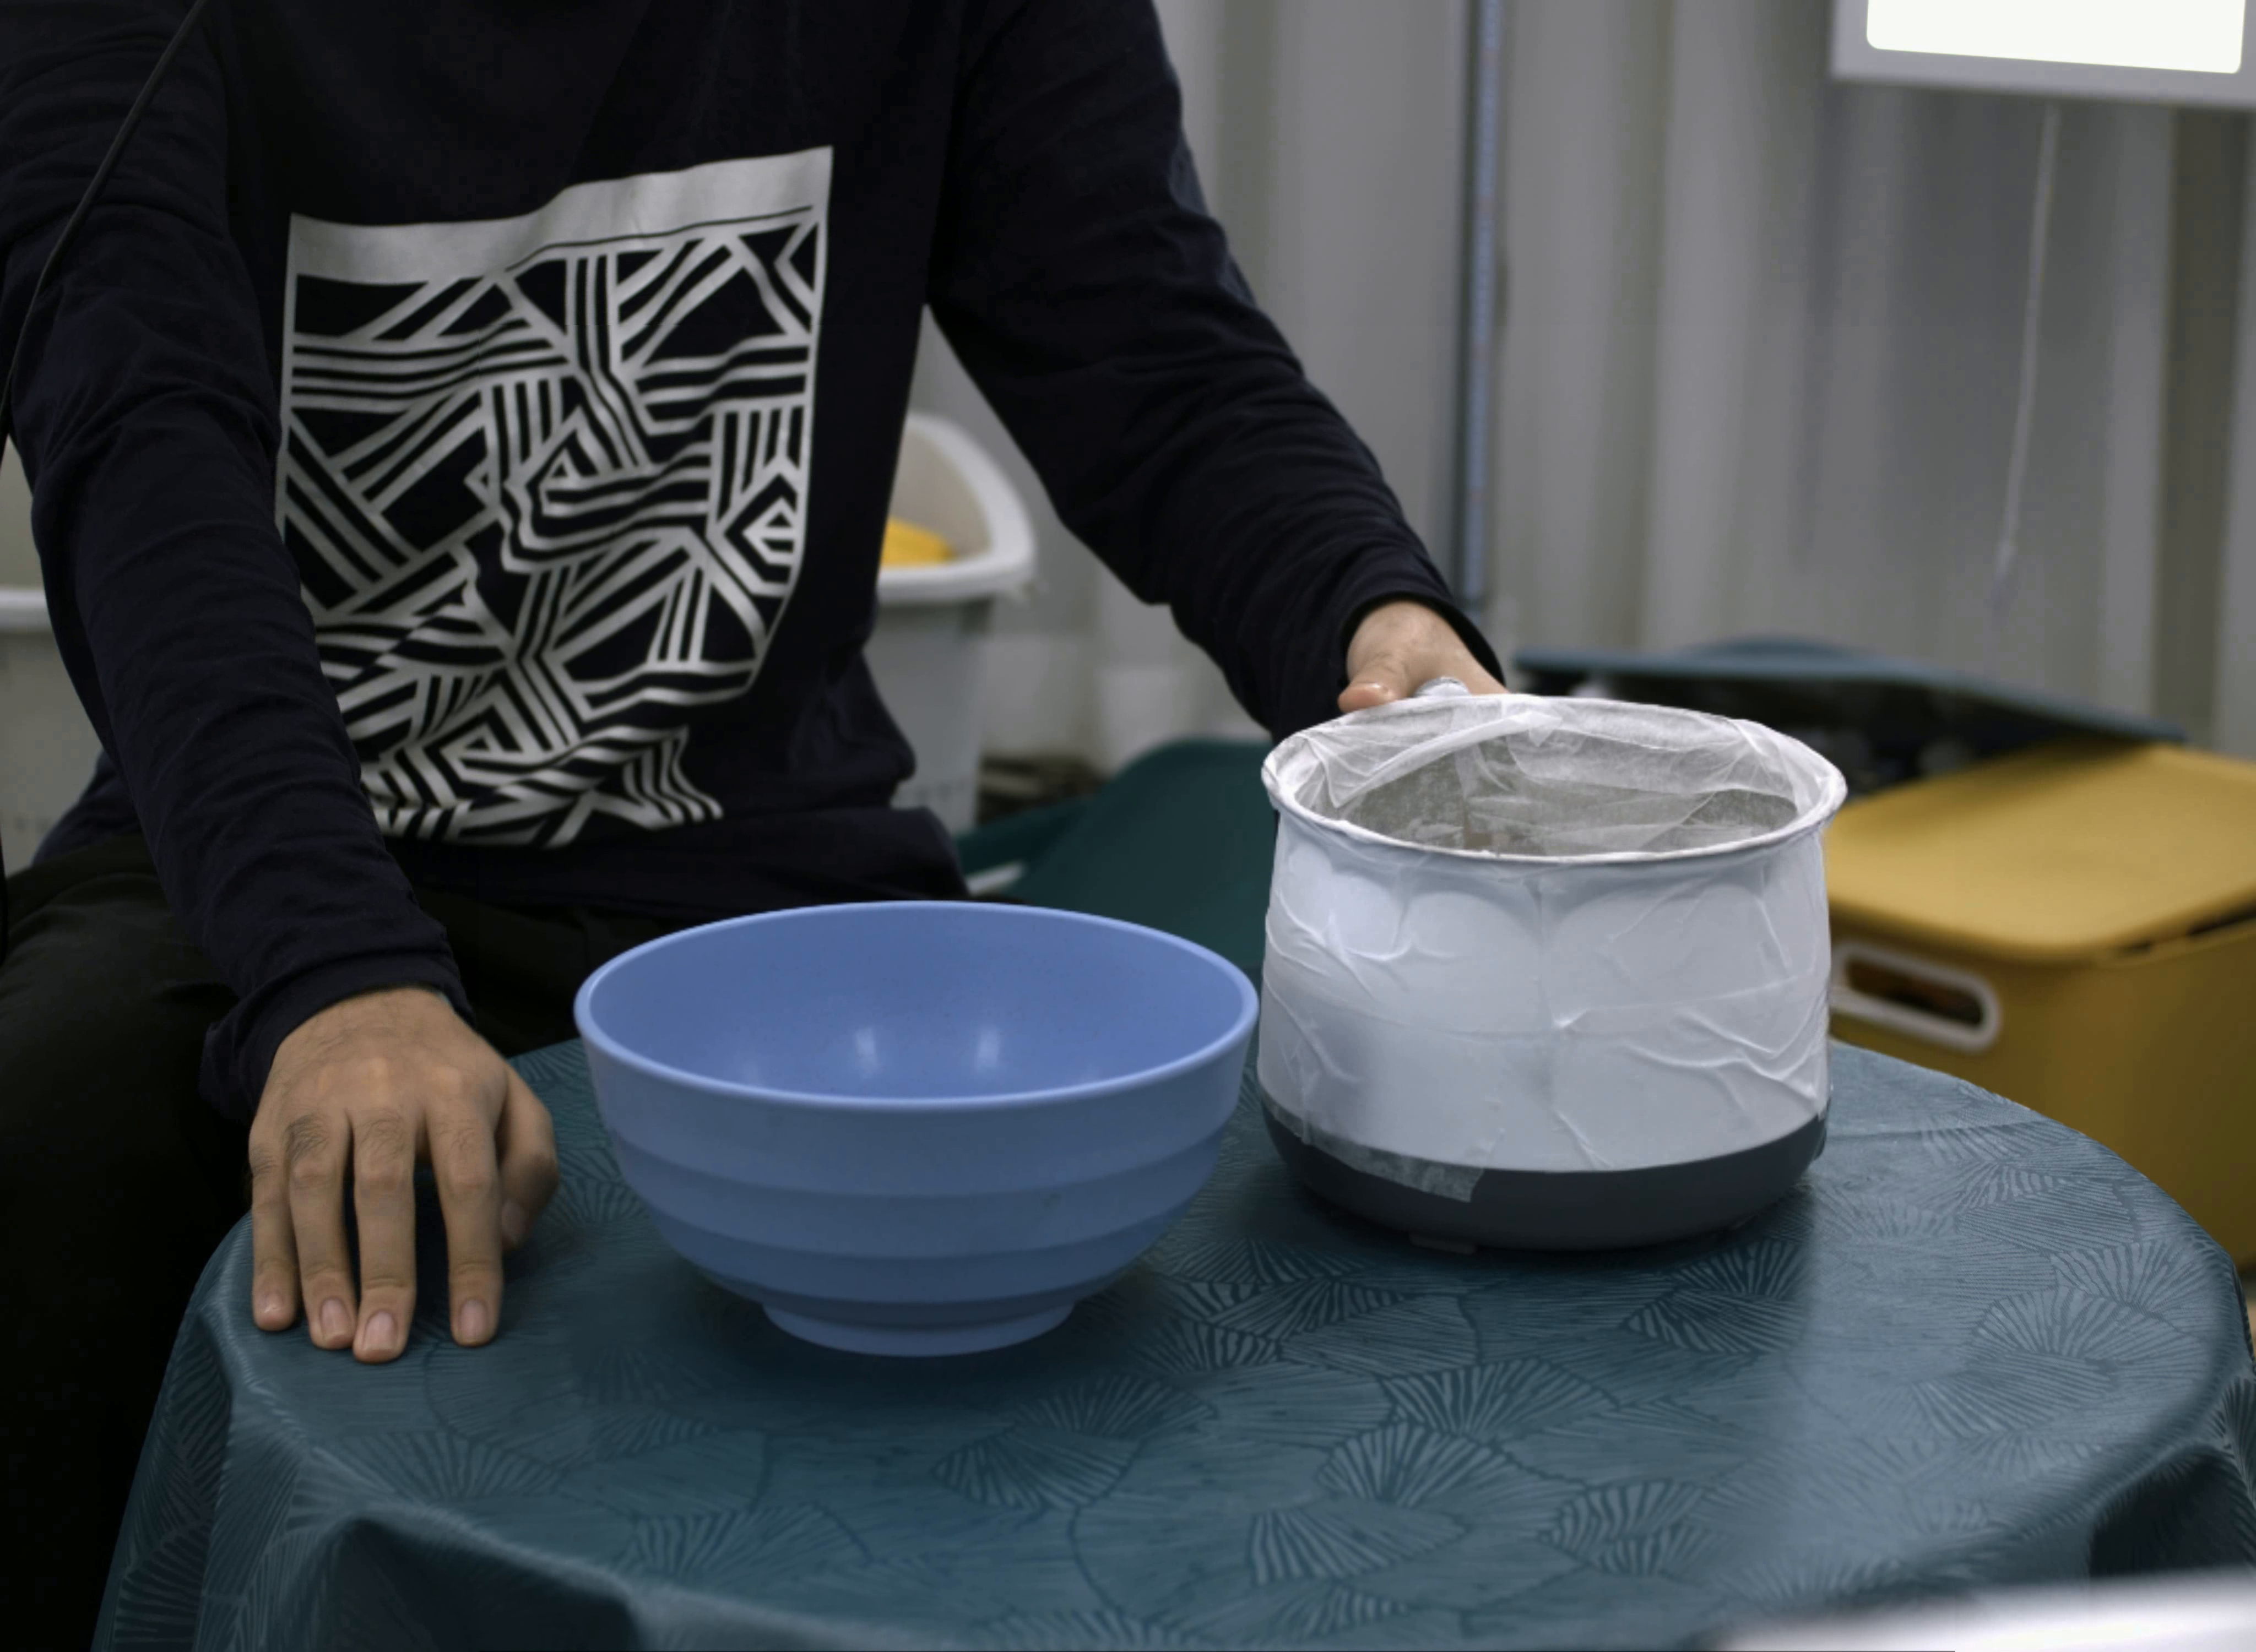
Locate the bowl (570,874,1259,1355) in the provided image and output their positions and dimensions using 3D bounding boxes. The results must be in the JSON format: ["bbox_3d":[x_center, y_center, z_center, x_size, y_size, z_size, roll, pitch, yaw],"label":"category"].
[{"bbox_3d":[-0.060,0.090,1.513,0.196,0.096,0.195,0,20,1],"label":"bowl"}]

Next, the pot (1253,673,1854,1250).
[{"bbox_3d":[0.120,0.037,1.638,0.179,0.138,0.231,-2,17,-18],"label":"pot"}]
